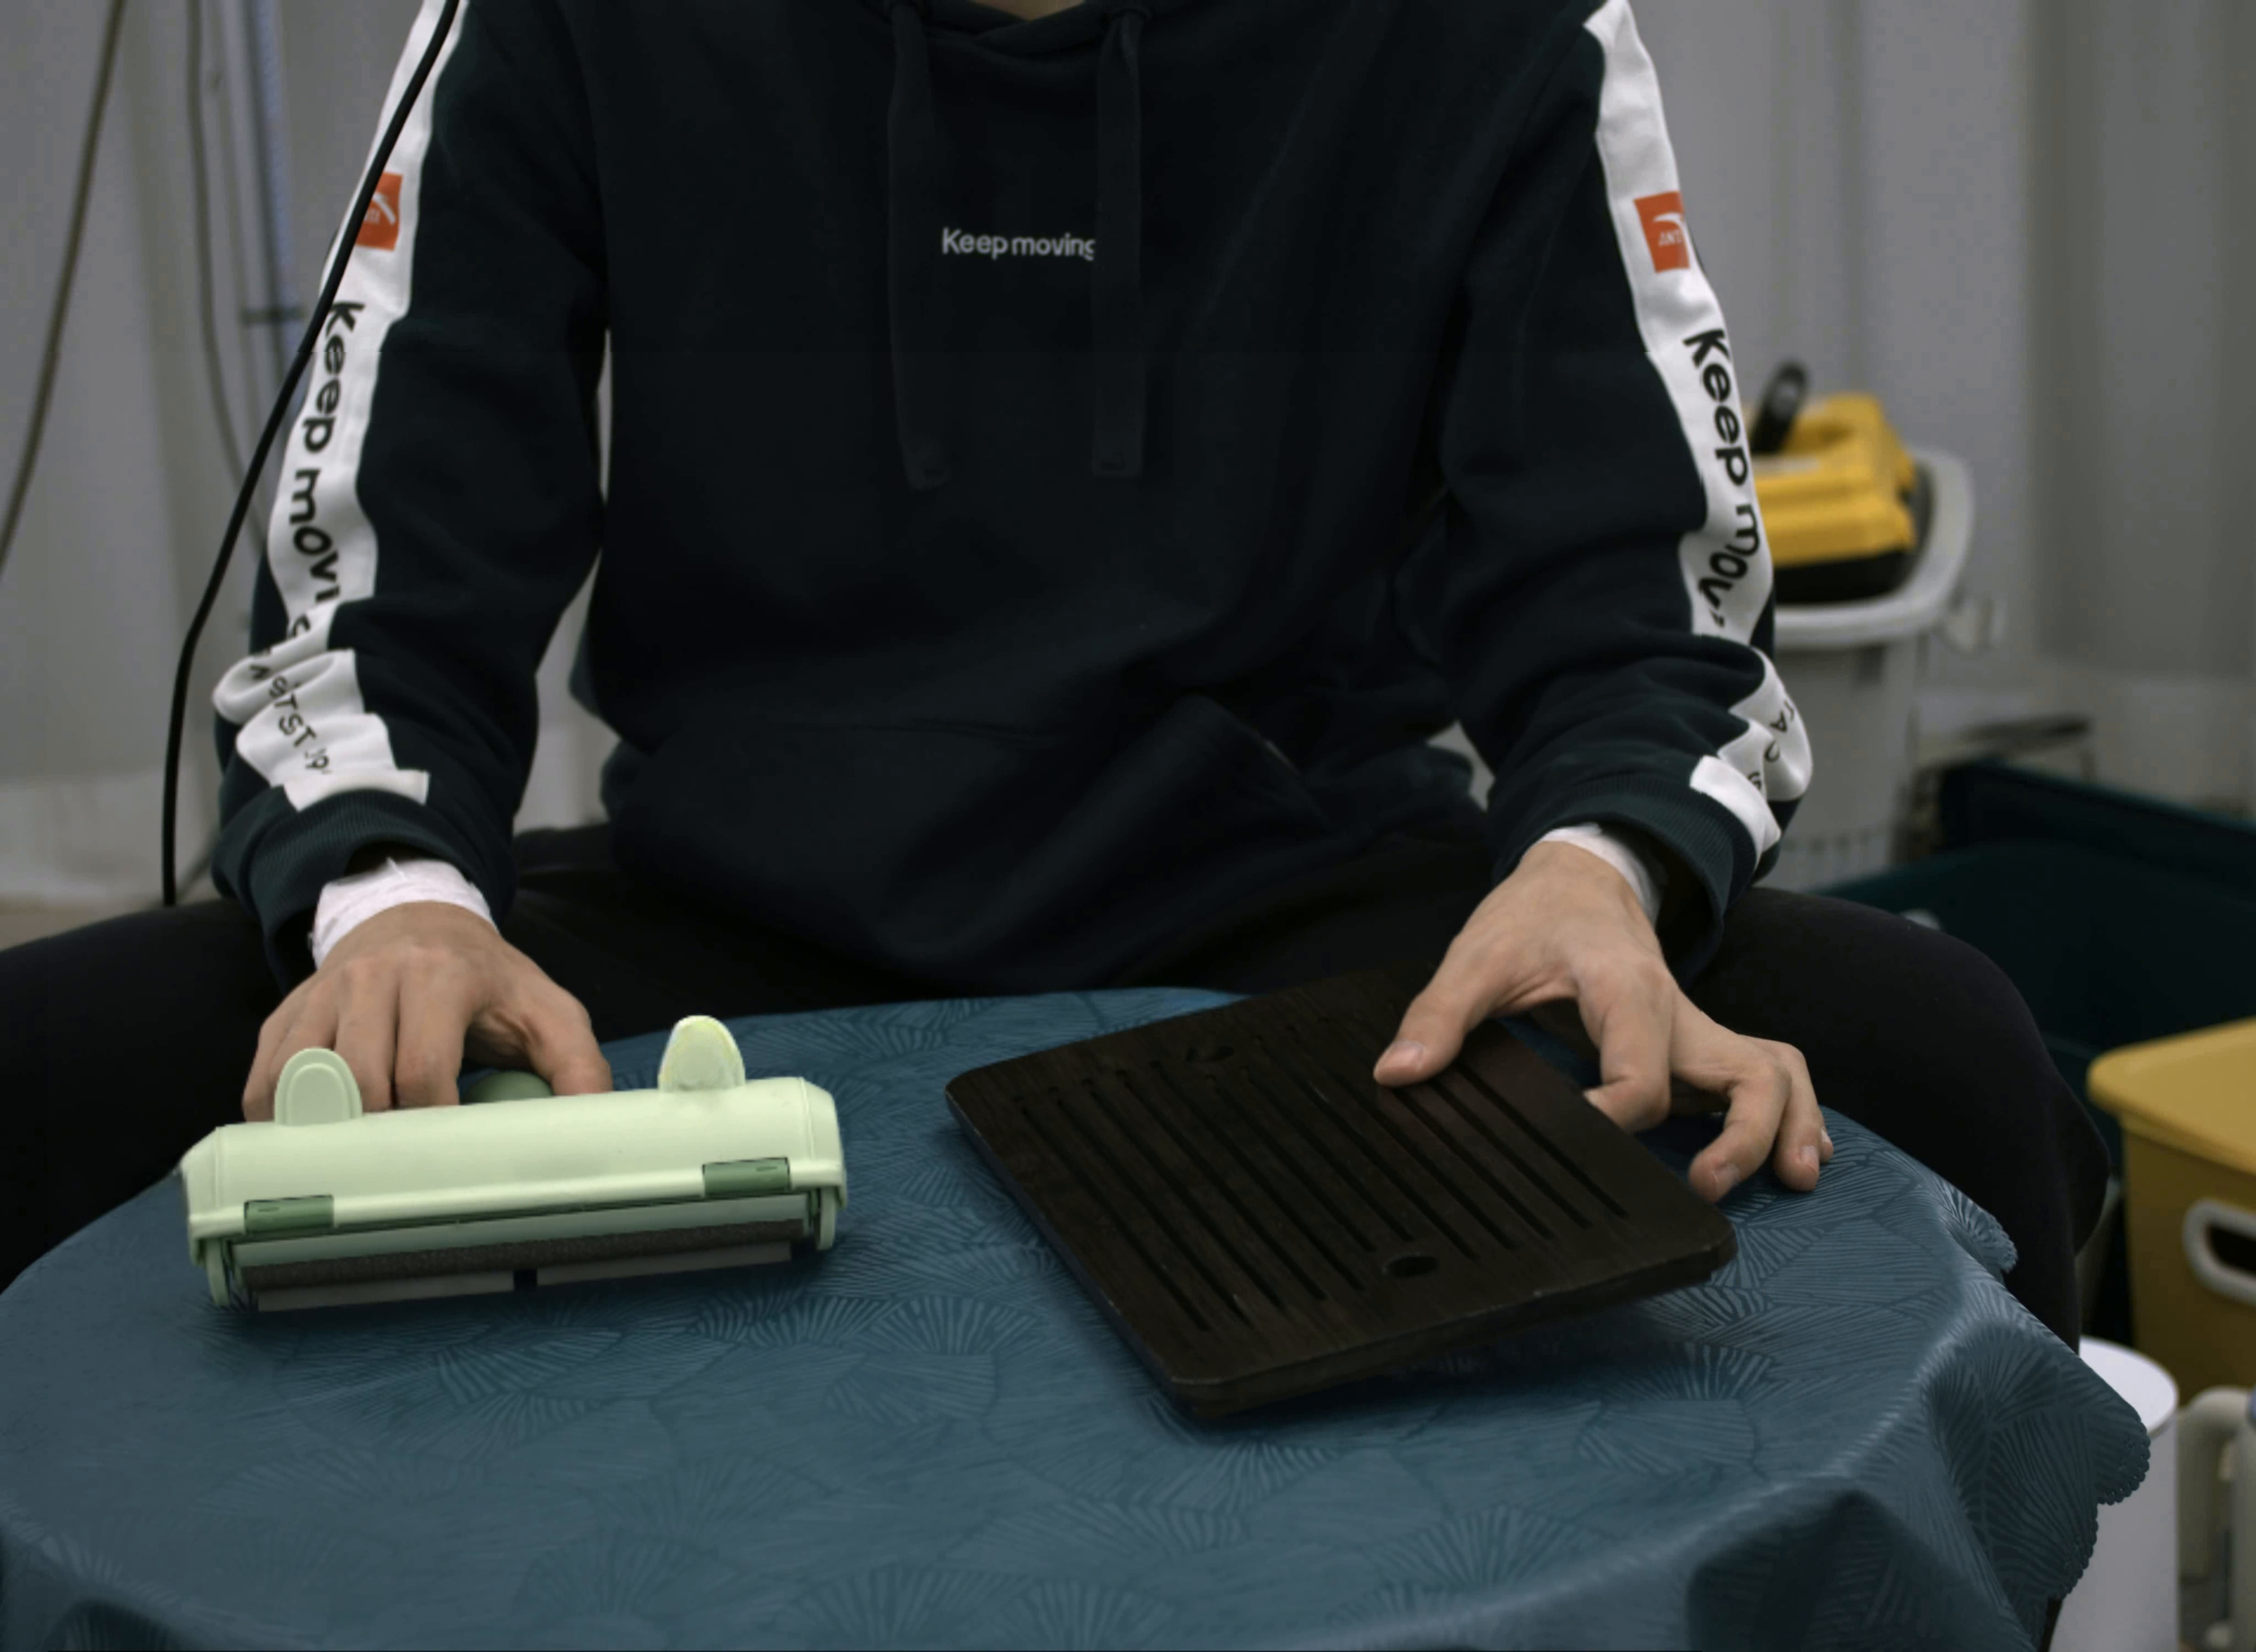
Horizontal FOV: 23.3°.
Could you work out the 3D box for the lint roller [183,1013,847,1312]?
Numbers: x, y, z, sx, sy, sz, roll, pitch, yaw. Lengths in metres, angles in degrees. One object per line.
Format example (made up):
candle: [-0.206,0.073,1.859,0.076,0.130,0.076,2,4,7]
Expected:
lint roller: [-0.192,0.087,1.703,0.198,0.082,0.185,-5,18,-6]

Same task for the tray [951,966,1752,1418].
tray: [0.060,0.107,1.662,0.169,0.018,0.308,-14,17,-12]
